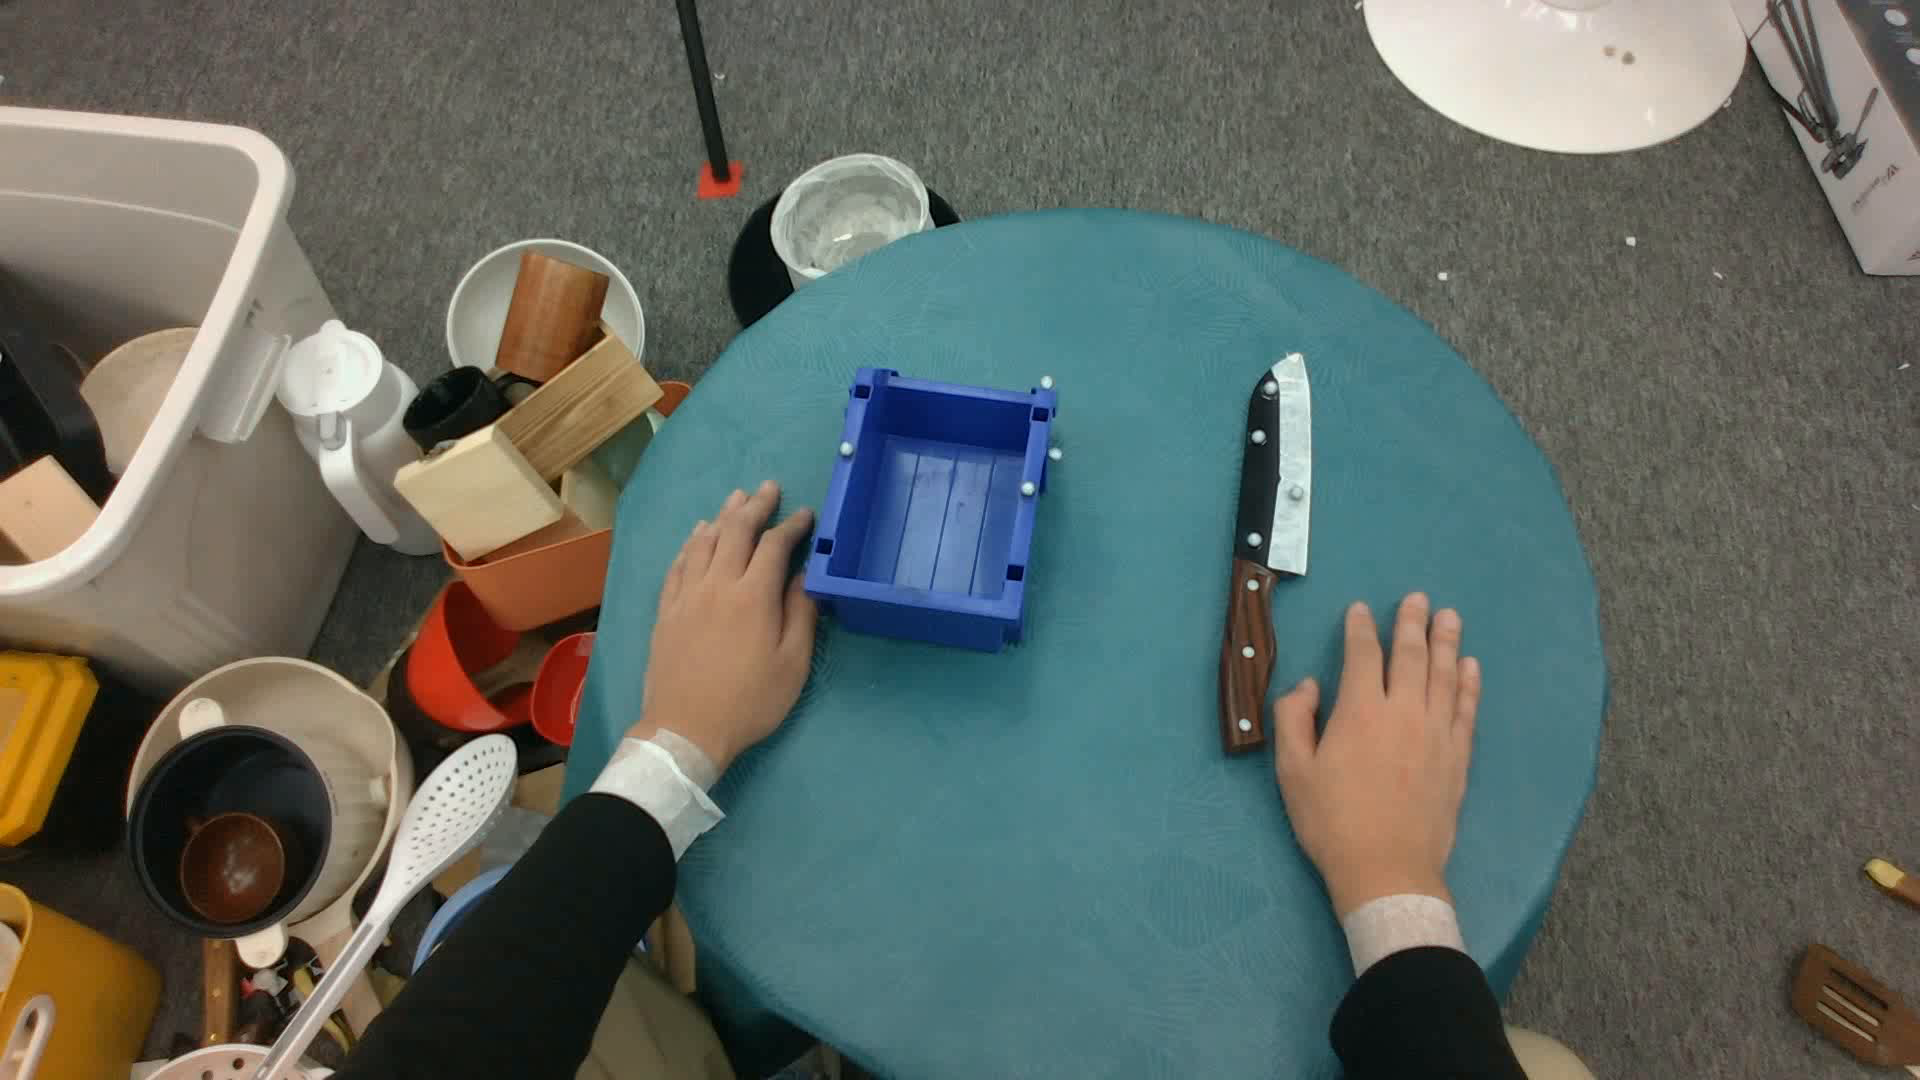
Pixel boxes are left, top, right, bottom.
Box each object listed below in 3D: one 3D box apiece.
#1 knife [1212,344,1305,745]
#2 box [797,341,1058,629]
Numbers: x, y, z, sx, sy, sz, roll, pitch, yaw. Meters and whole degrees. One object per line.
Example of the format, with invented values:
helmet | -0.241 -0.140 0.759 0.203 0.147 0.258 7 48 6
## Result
knife | 0.184 -0.008 0.840 0.050 0.020 0.290 13 61 2
box | -0.016 -0.040 0.823 0.124 0.081 0.180 9 65 6
